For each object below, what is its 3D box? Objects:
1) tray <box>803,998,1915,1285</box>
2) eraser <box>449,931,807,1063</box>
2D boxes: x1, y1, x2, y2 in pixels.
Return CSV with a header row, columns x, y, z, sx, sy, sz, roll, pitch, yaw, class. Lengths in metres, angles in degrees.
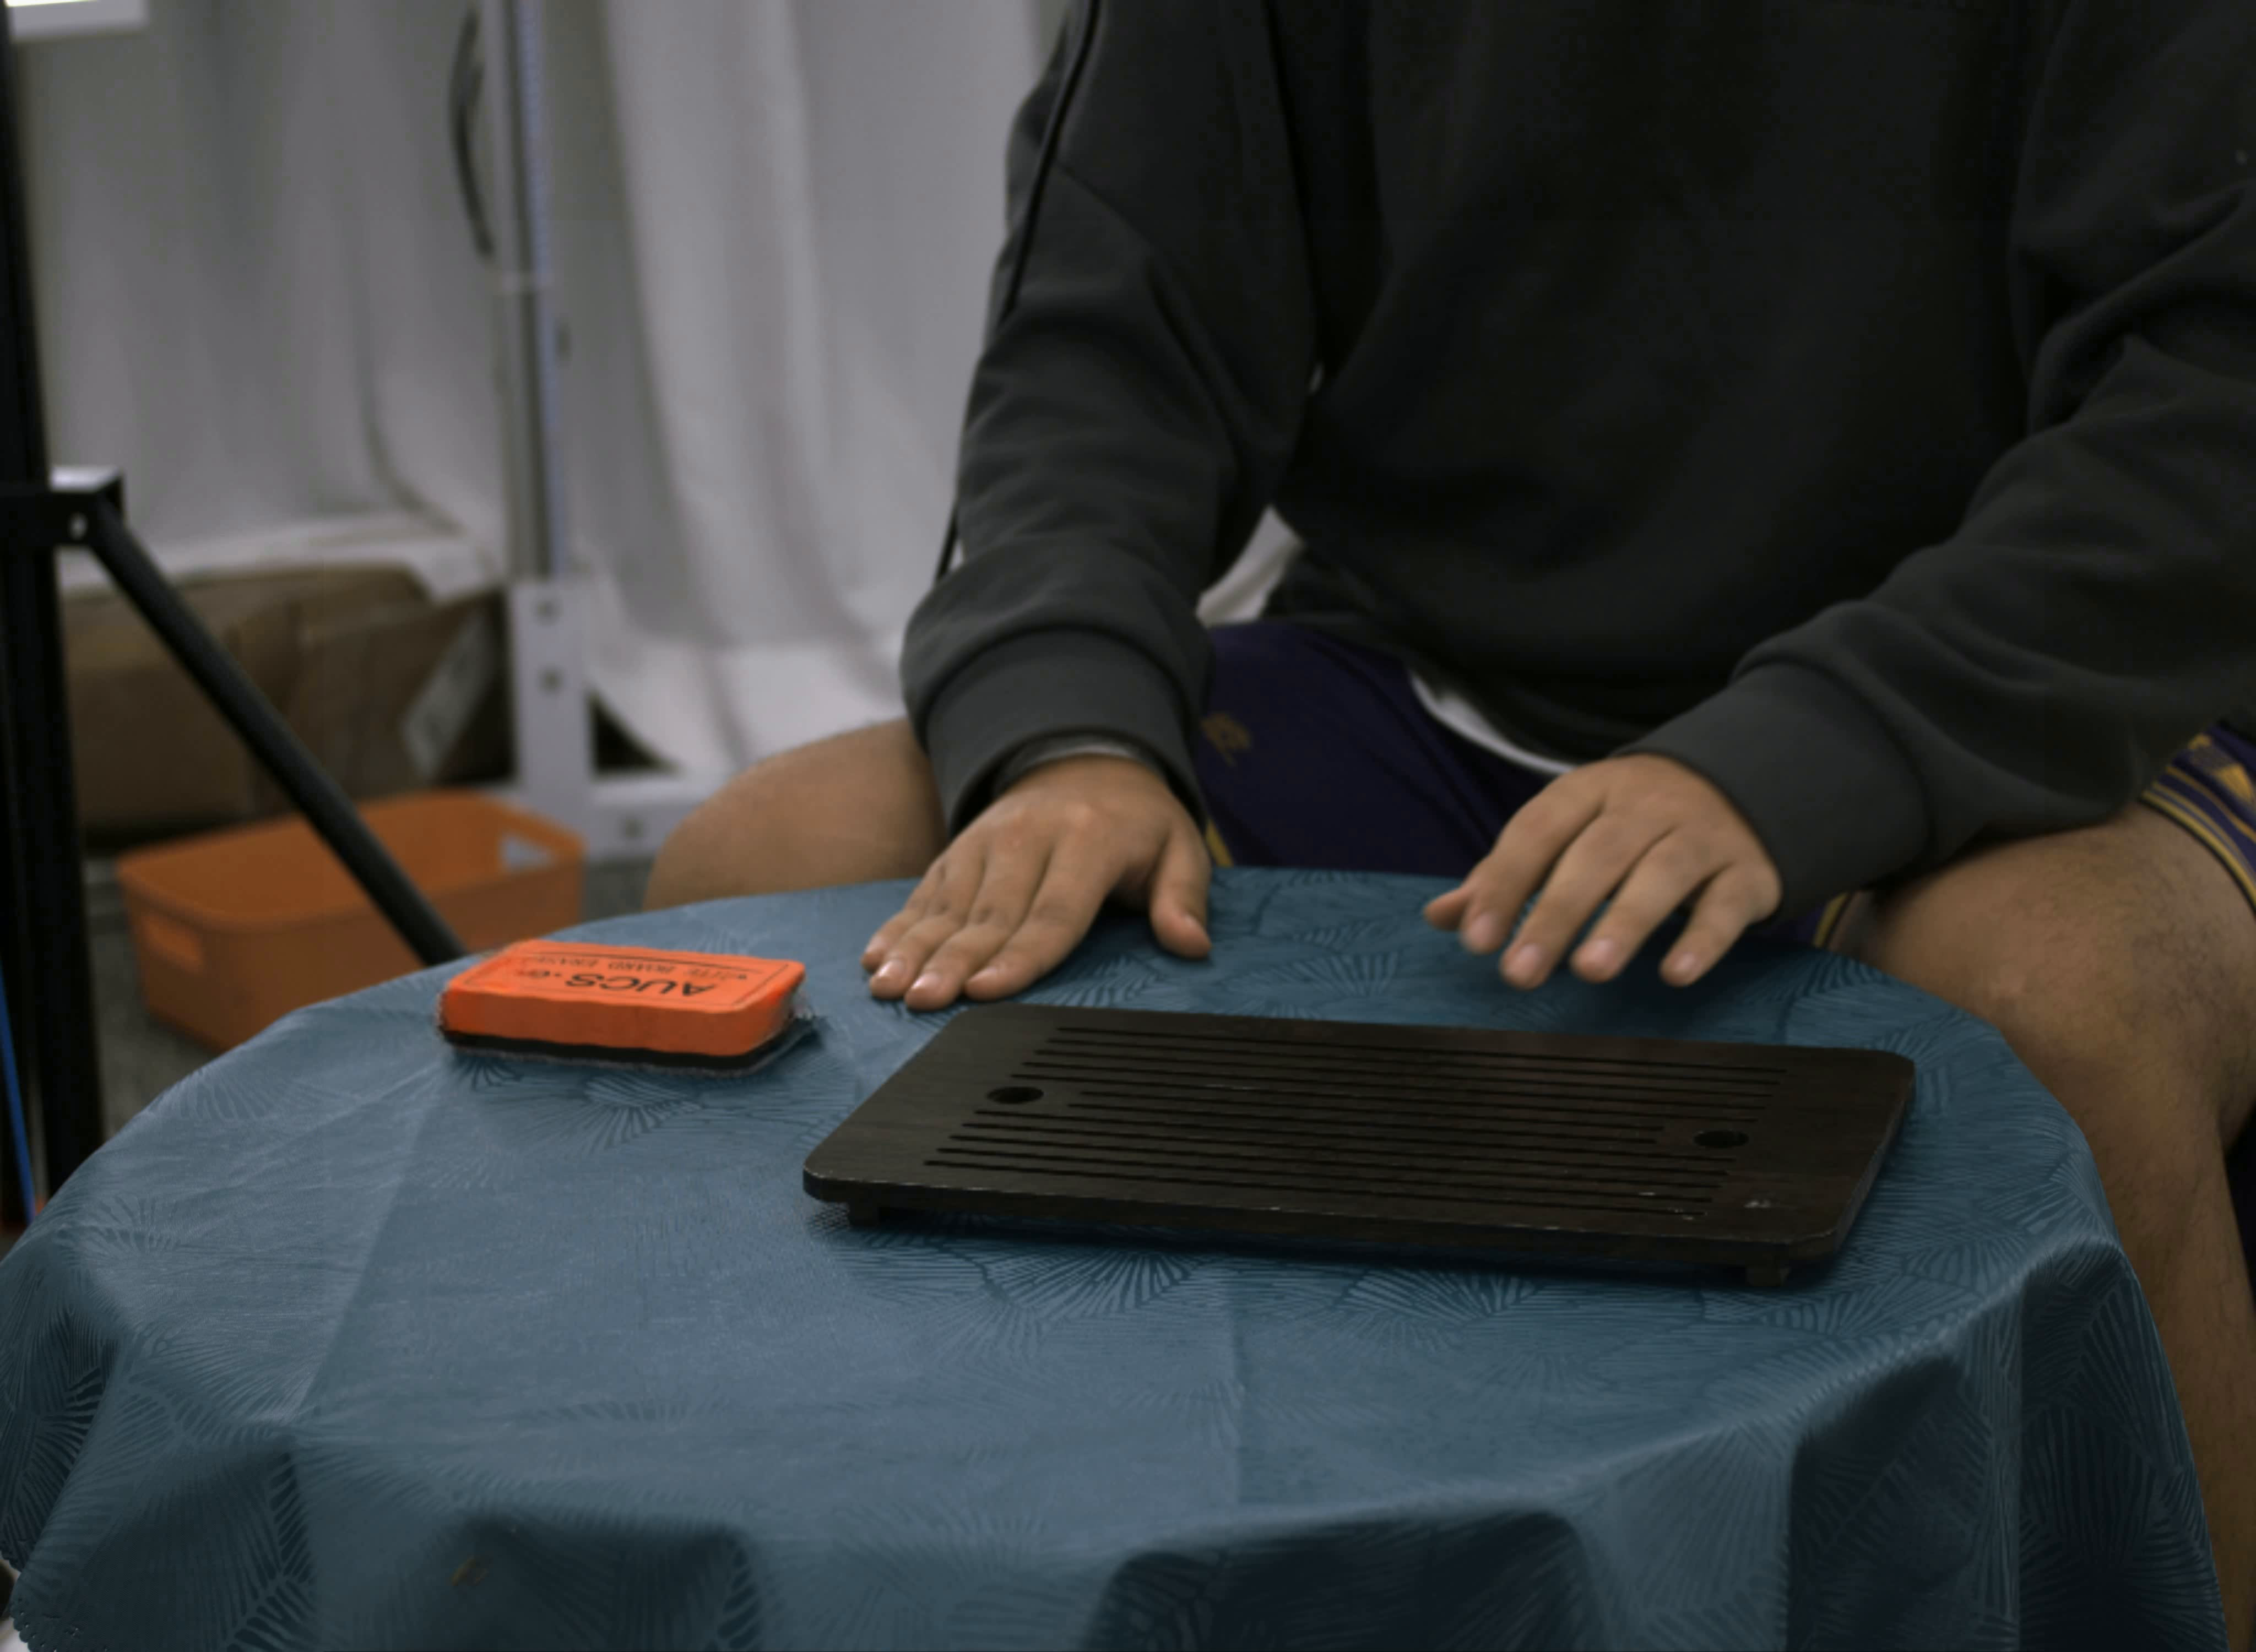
x,y,z,sx,sy,sz,roll,pitch,yaw,class
0.071,0.092,1.572,0.309,0.018,0.168,2,17,19,tray
-0.161,0.055,1.720,0.109,0.023,0.058,3,17,23,eraser
